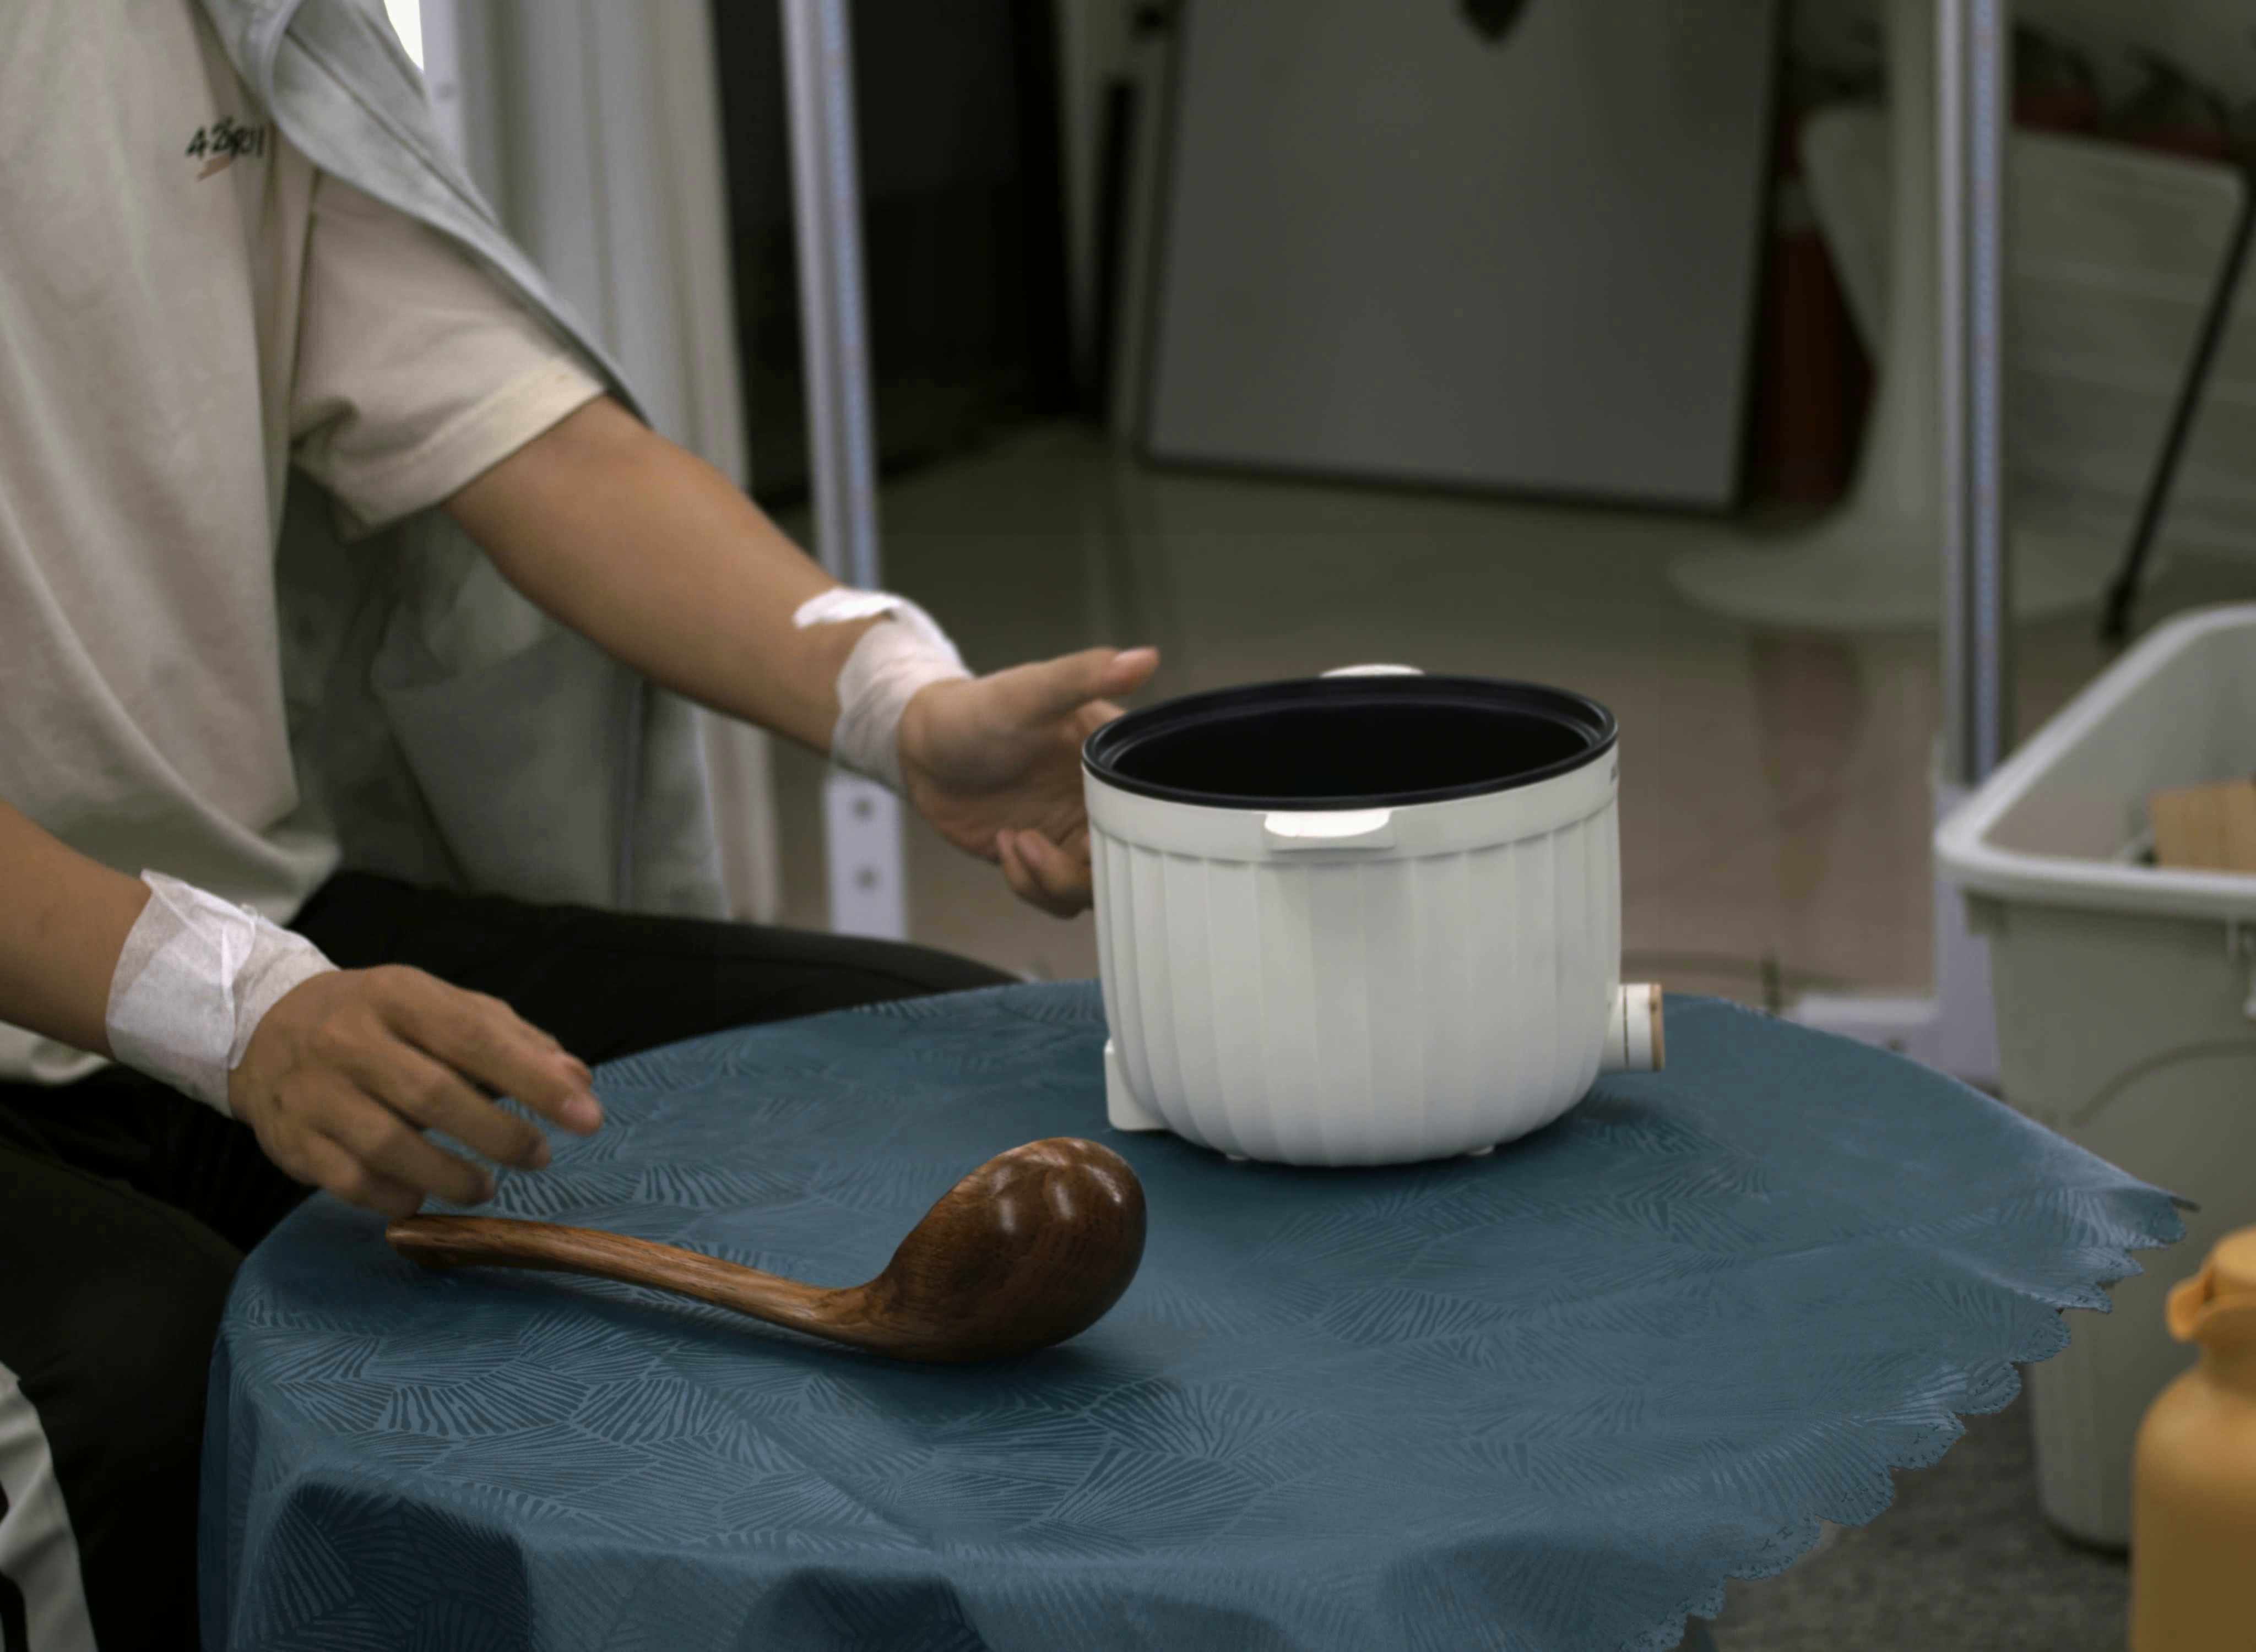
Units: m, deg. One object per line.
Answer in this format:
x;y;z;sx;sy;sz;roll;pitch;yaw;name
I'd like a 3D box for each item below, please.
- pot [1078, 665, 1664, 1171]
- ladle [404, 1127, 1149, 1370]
0.083;0.032;1.818;0.189;0.144;0.240;-6;14;8;pot
-0.114;0.119;1.670;0.276;0.077;0.081;5;-25;39;ladle
